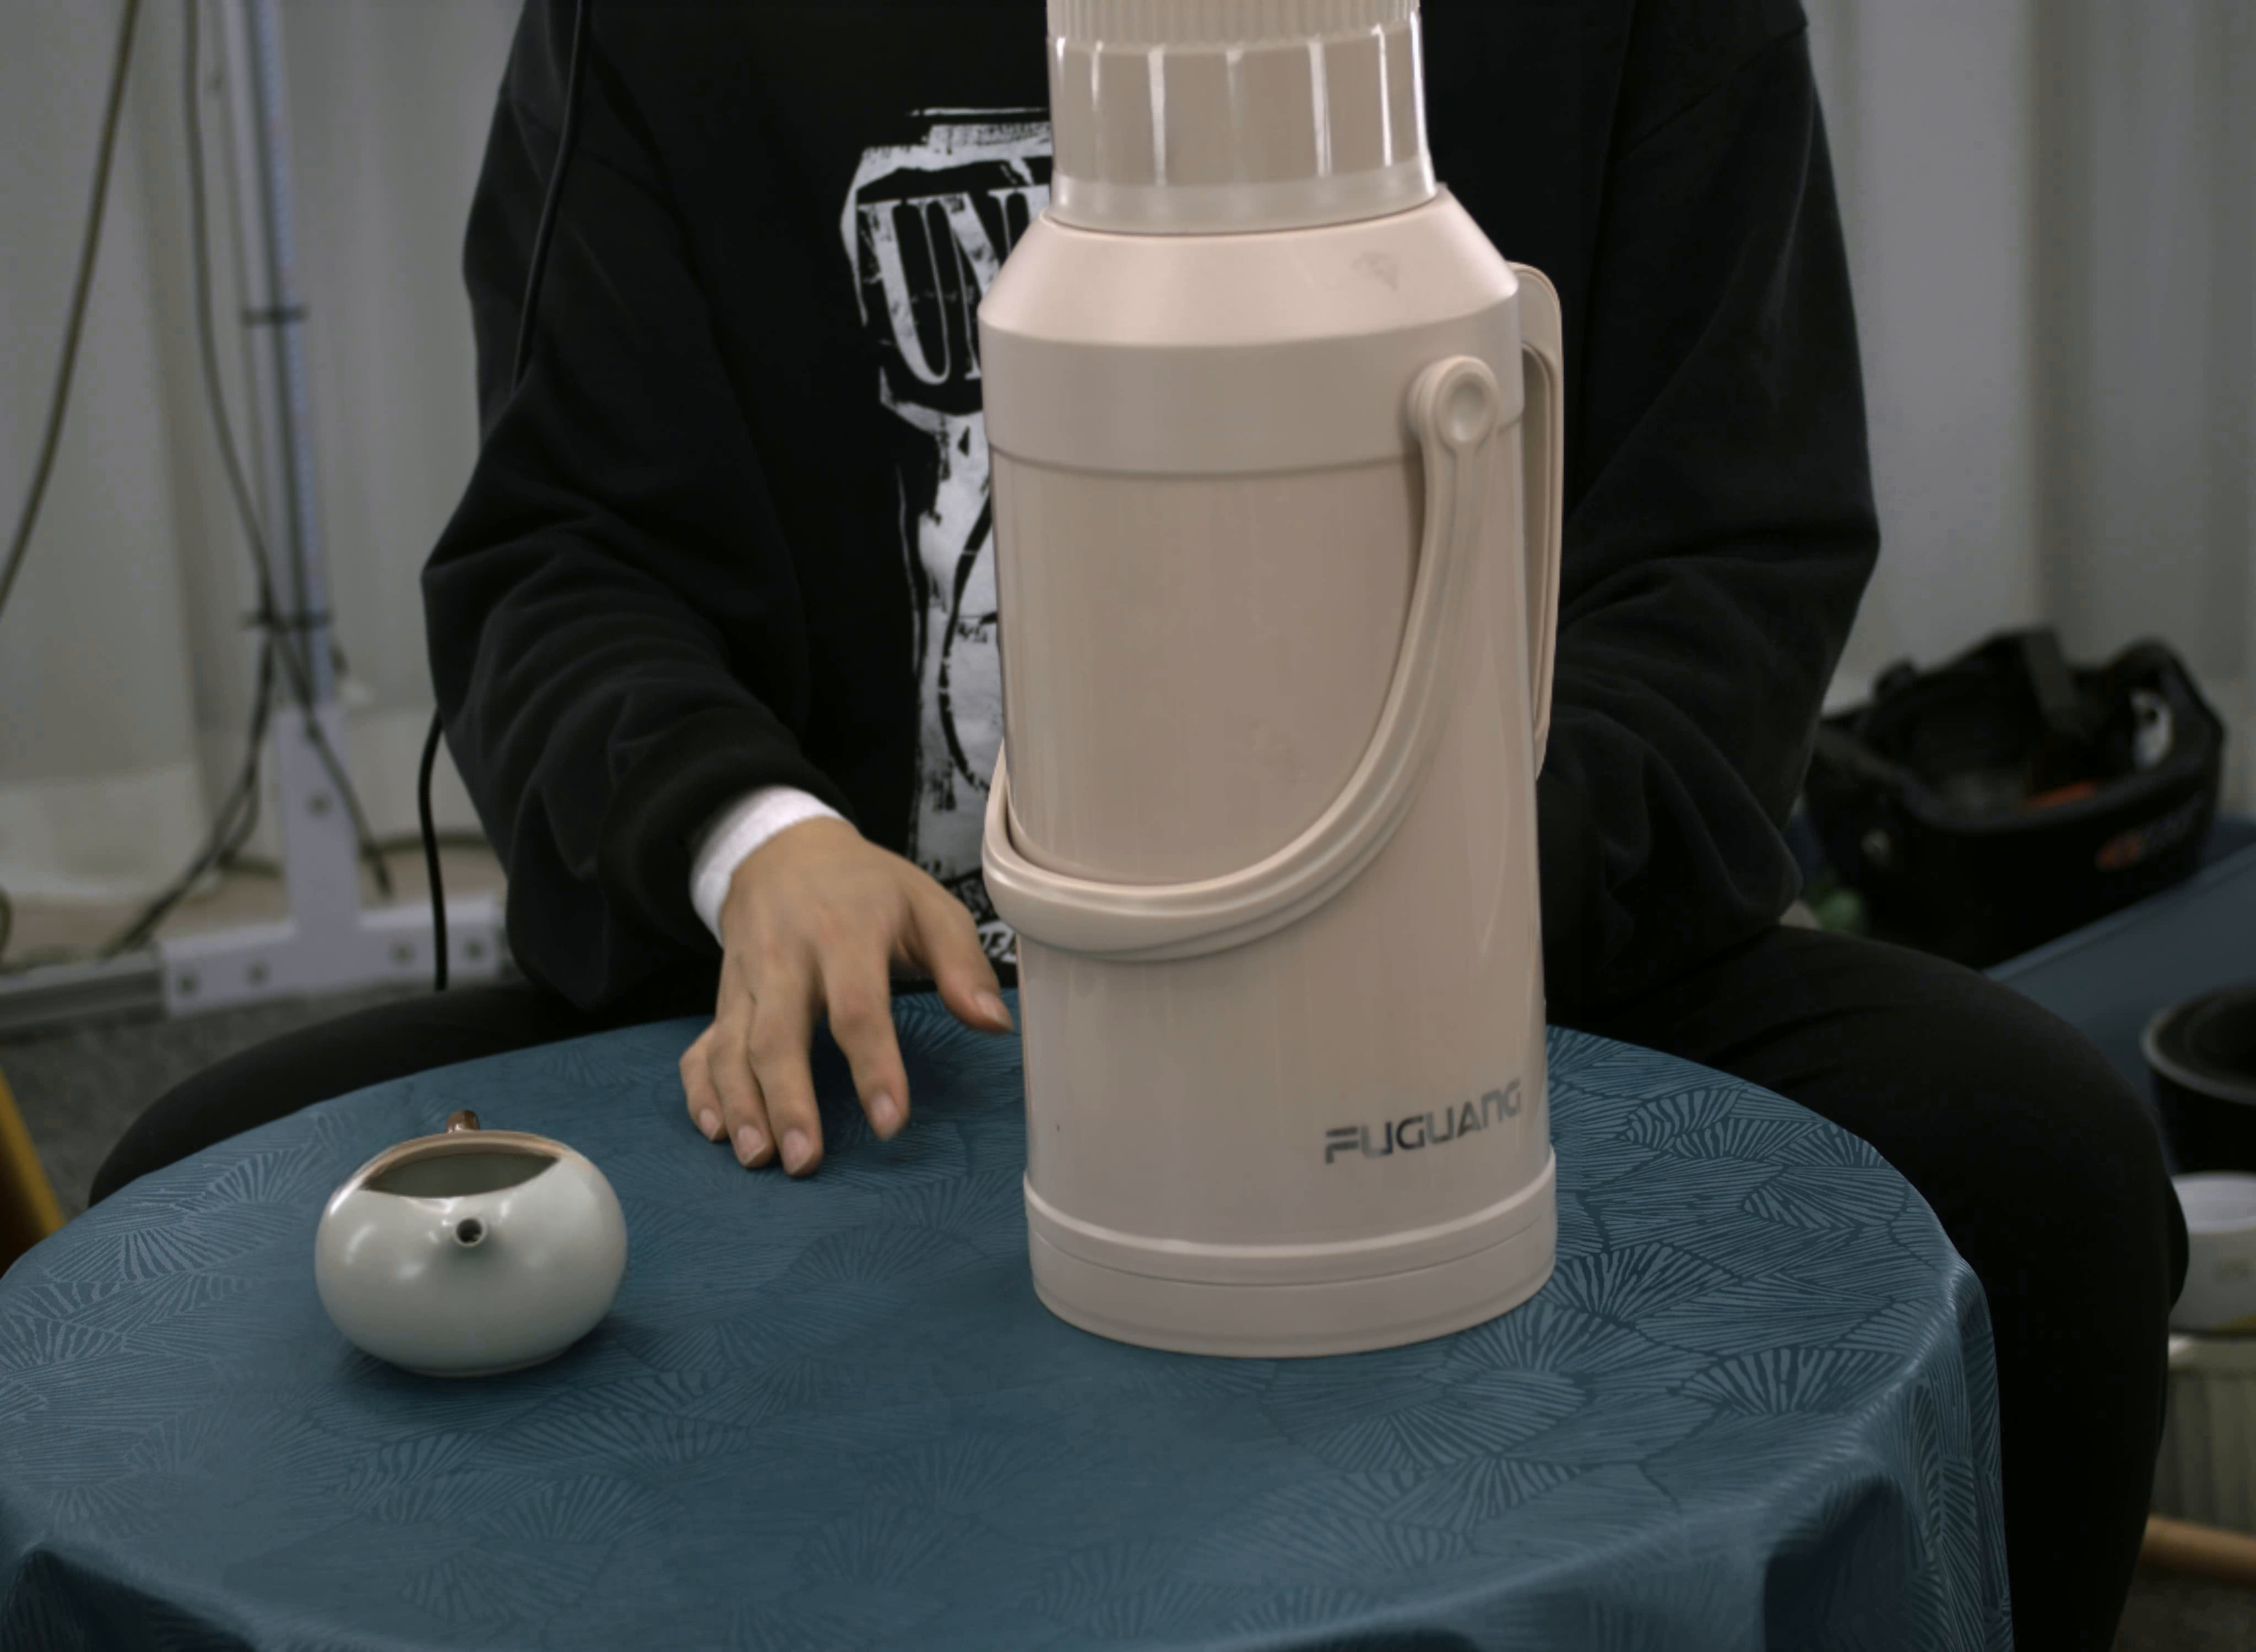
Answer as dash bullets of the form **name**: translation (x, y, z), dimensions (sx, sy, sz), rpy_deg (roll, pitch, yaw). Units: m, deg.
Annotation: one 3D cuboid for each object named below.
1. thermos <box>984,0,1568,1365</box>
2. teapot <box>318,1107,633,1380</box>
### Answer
- **thermos**: translation (0.053, -0.061, 1.599), dimensions (0.206, 0.405, 0.176), rpy_deg (-16, 17, -40)
- **teapot**: translation (-0.192, 0.122, 1.608), dimensions (0.091, 0.059, 0.129), rpy_deg (-10, 16, -7)
